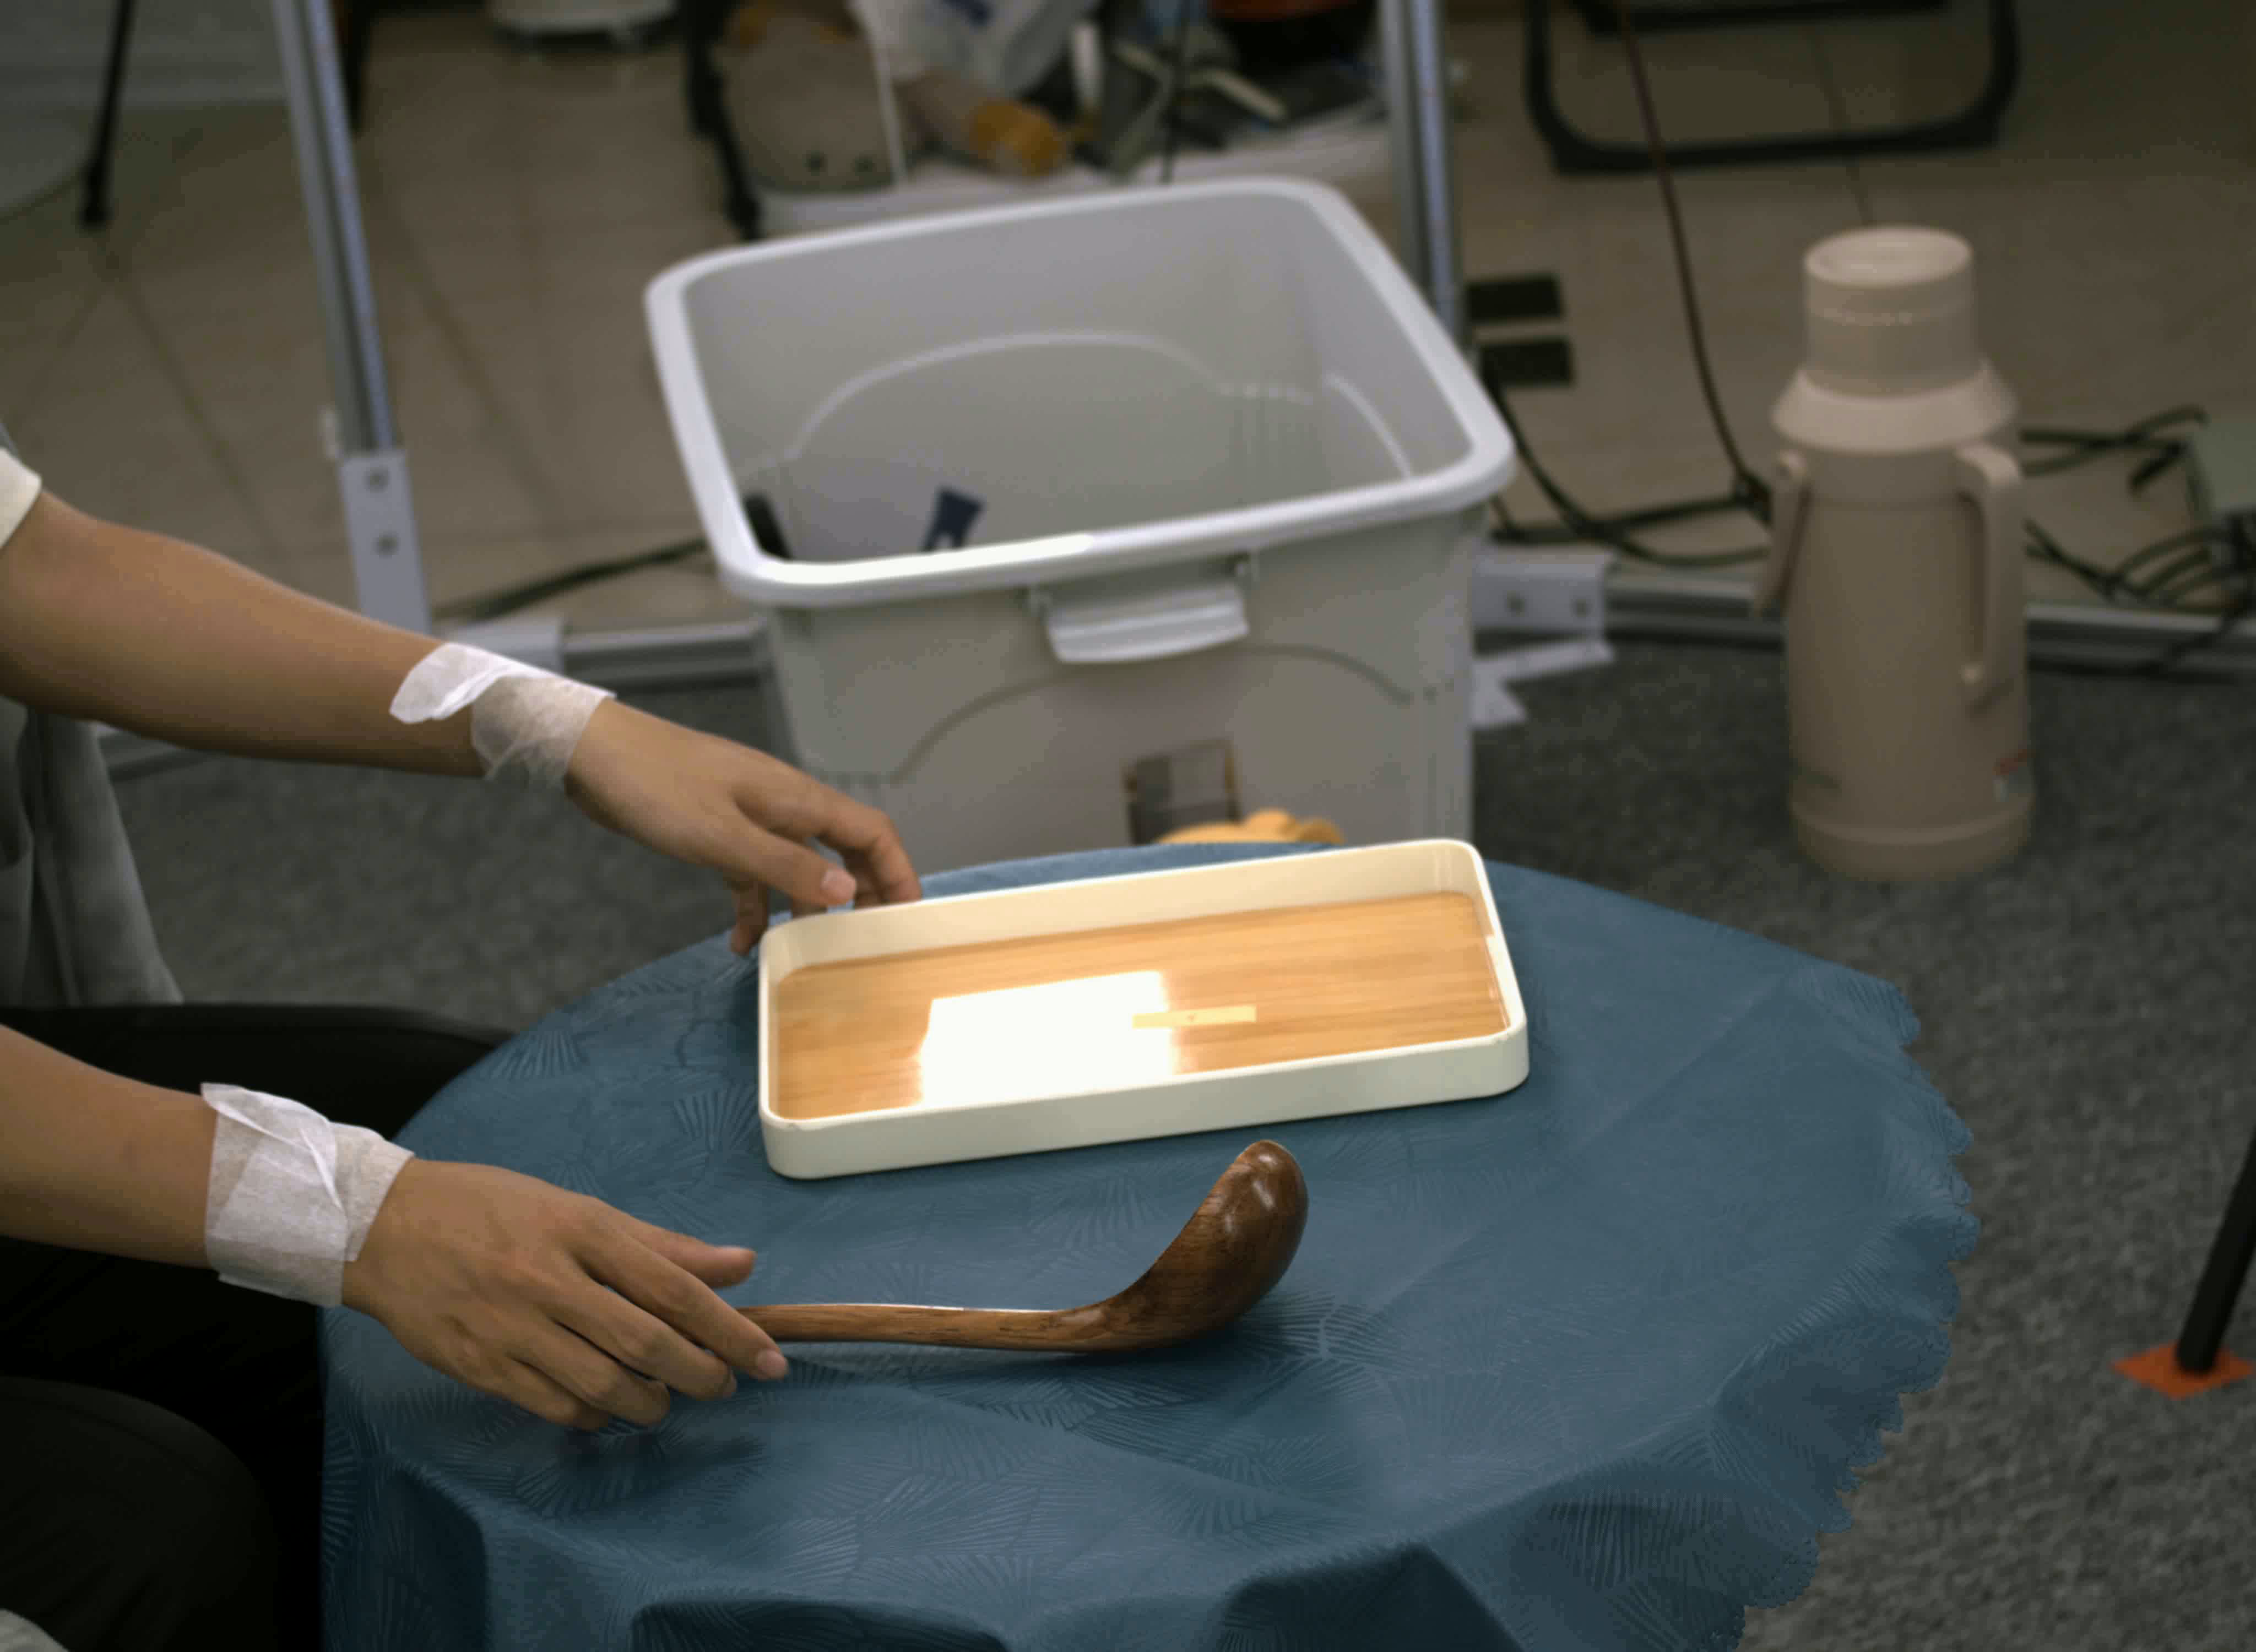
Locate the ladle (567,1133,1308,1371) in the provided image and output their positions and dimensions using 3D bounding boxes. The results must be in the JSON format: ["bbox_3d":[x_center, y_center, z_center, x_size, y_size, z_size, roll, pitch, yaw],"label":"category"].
[{"bbox_3d":[-0.071,0.154,2.052,0.273,0.076,0.082,-3,-15,11],"label":"ladle"}]

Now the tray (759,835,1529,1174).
[{"bbox_3d":[0.002,0.070,2.266,0.300,0.028,0.189,-7,25,0],"label":"tray"}]
